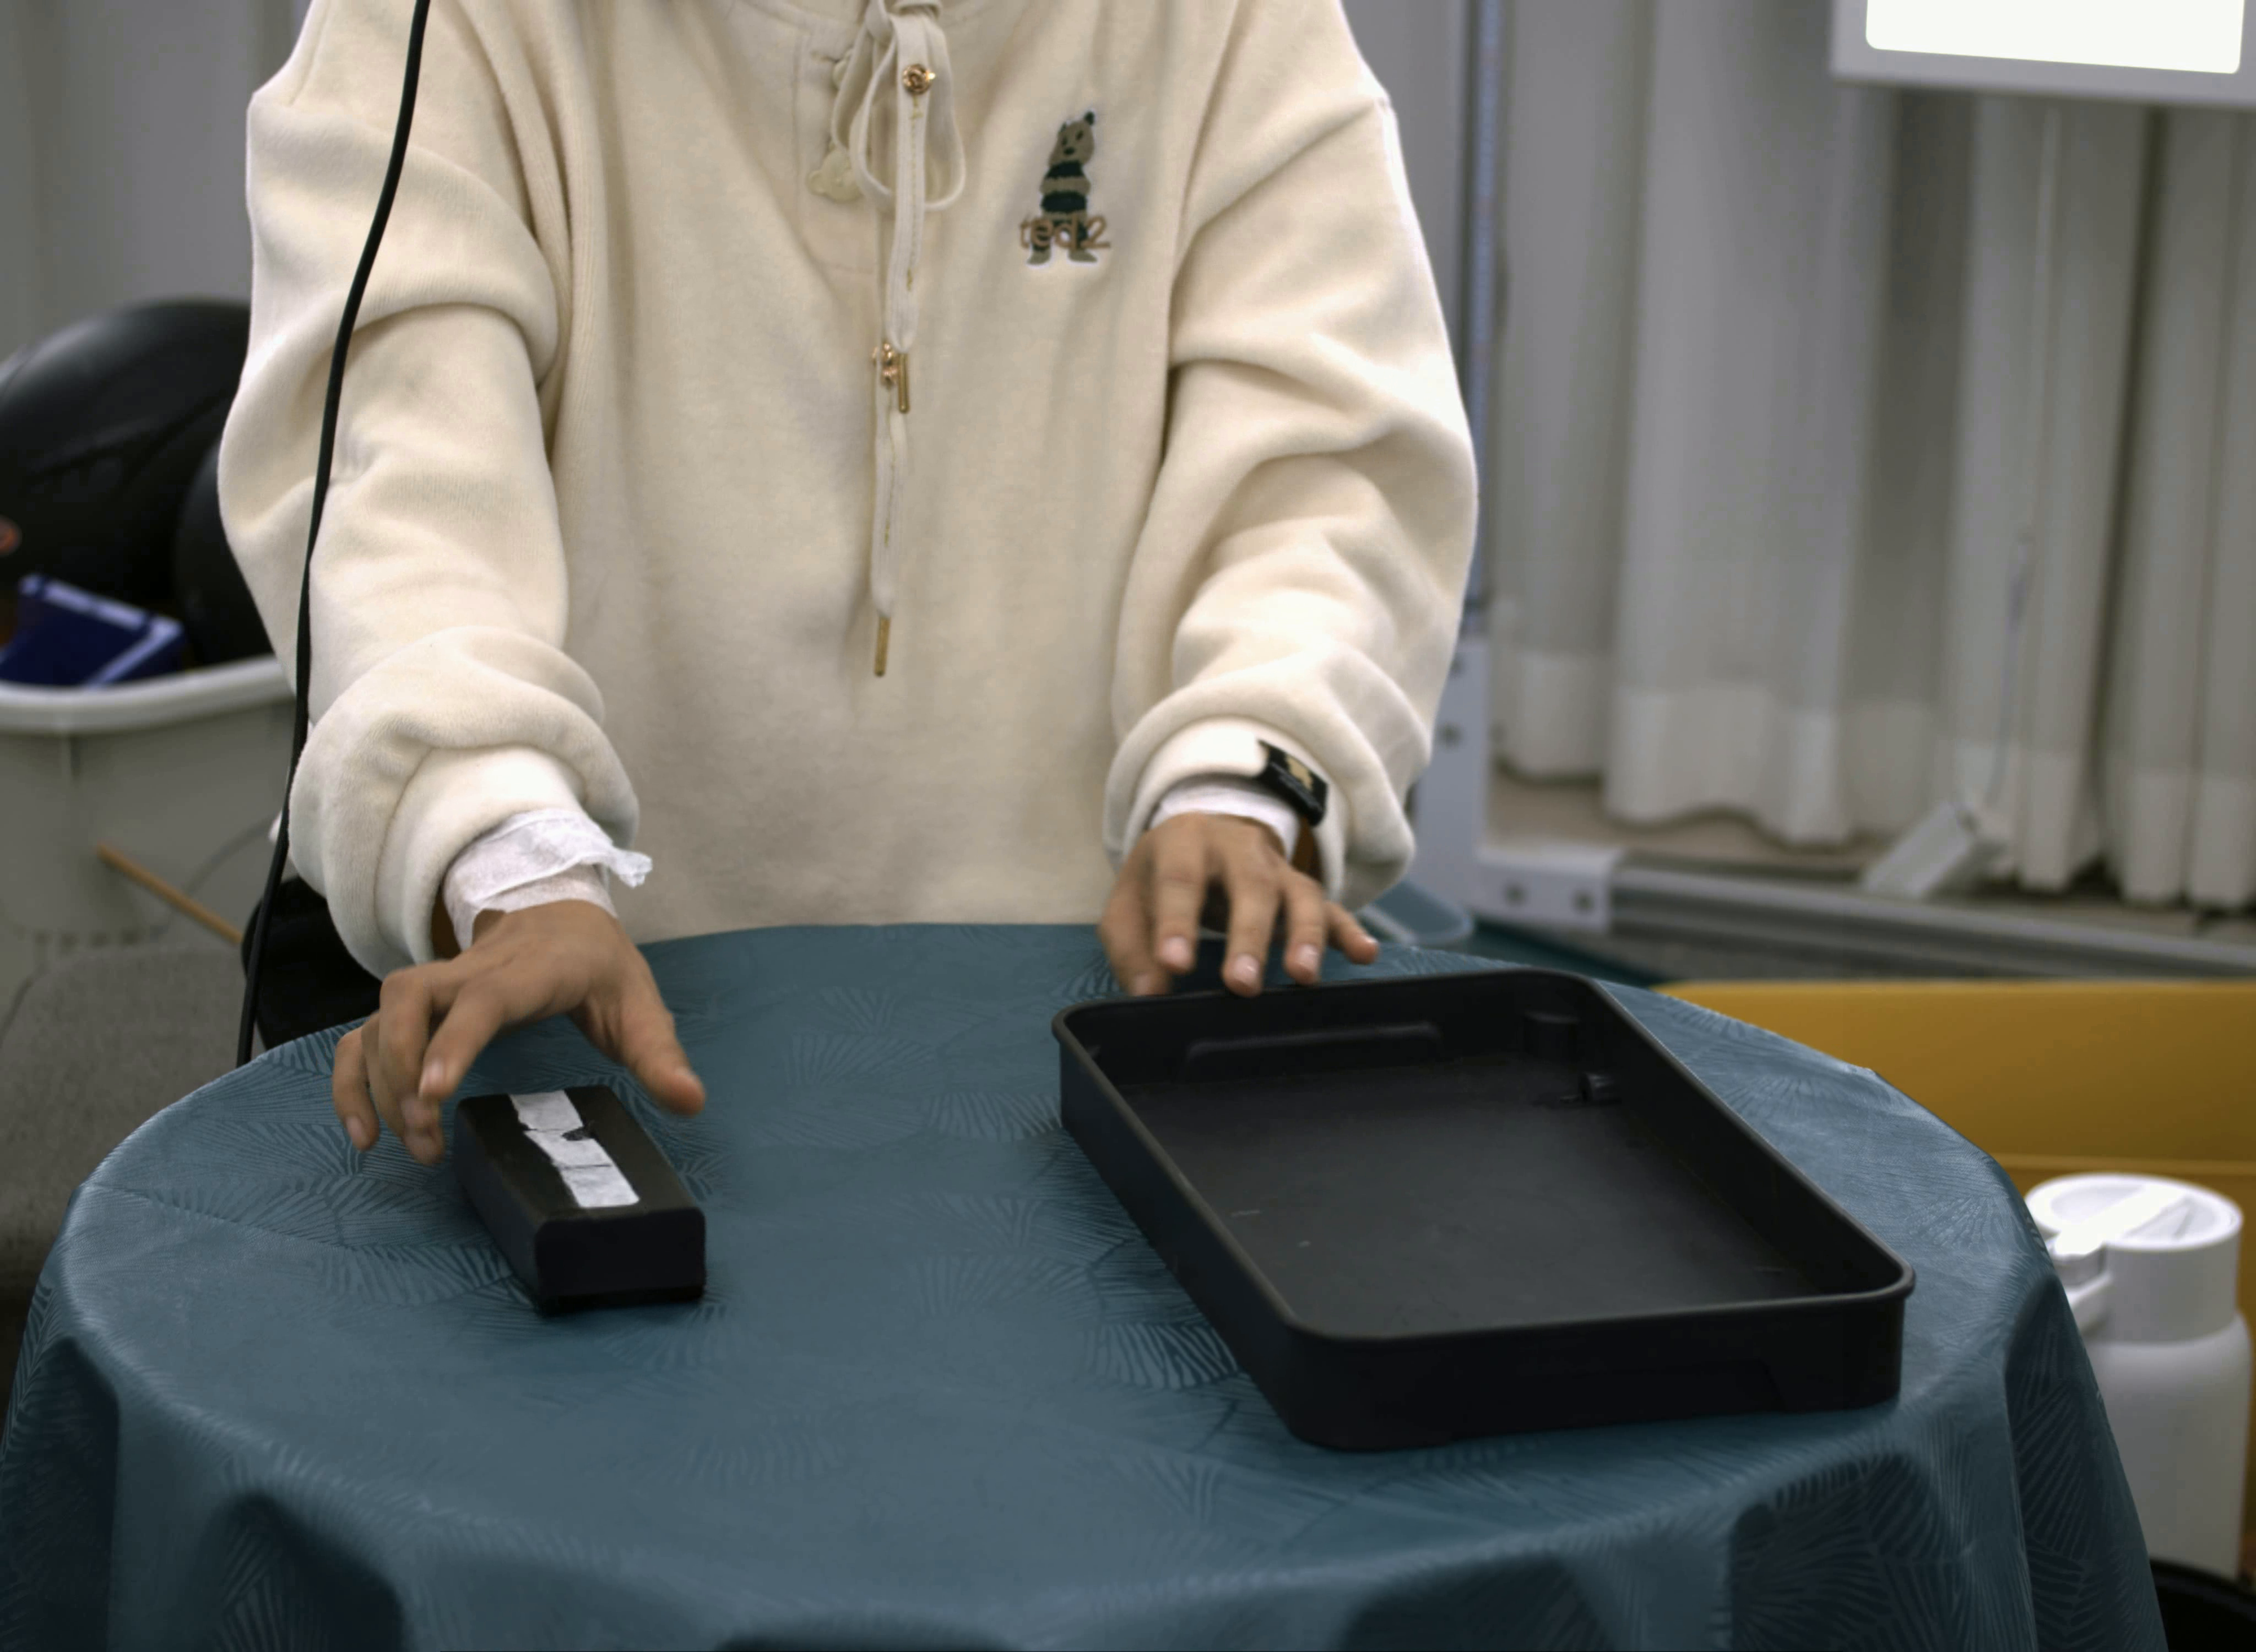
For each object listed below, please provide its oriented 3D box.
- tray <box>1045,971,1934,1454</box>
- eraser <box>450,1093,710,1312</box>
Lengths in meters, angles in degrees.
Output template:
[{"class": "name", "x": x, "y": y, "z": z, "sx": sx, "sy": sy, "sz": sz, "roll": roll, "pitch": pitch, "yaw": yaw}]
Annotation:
[{"class": "tray", "x": 0.098, "y": 0.108, "z": 1.568, "sx": 0.184, "sy": 0.037, "sz": 0.315, "roll": -3, "pitch": 15, "yaw": -15}, {"class": "eraser", "x": -0.164, "y": 0.111, "z": 1.567, "sx": 0.053, "sy": 0.030, "sz": 0.124, "roll": 0, "pitch": 15, "yaw": -19}]
